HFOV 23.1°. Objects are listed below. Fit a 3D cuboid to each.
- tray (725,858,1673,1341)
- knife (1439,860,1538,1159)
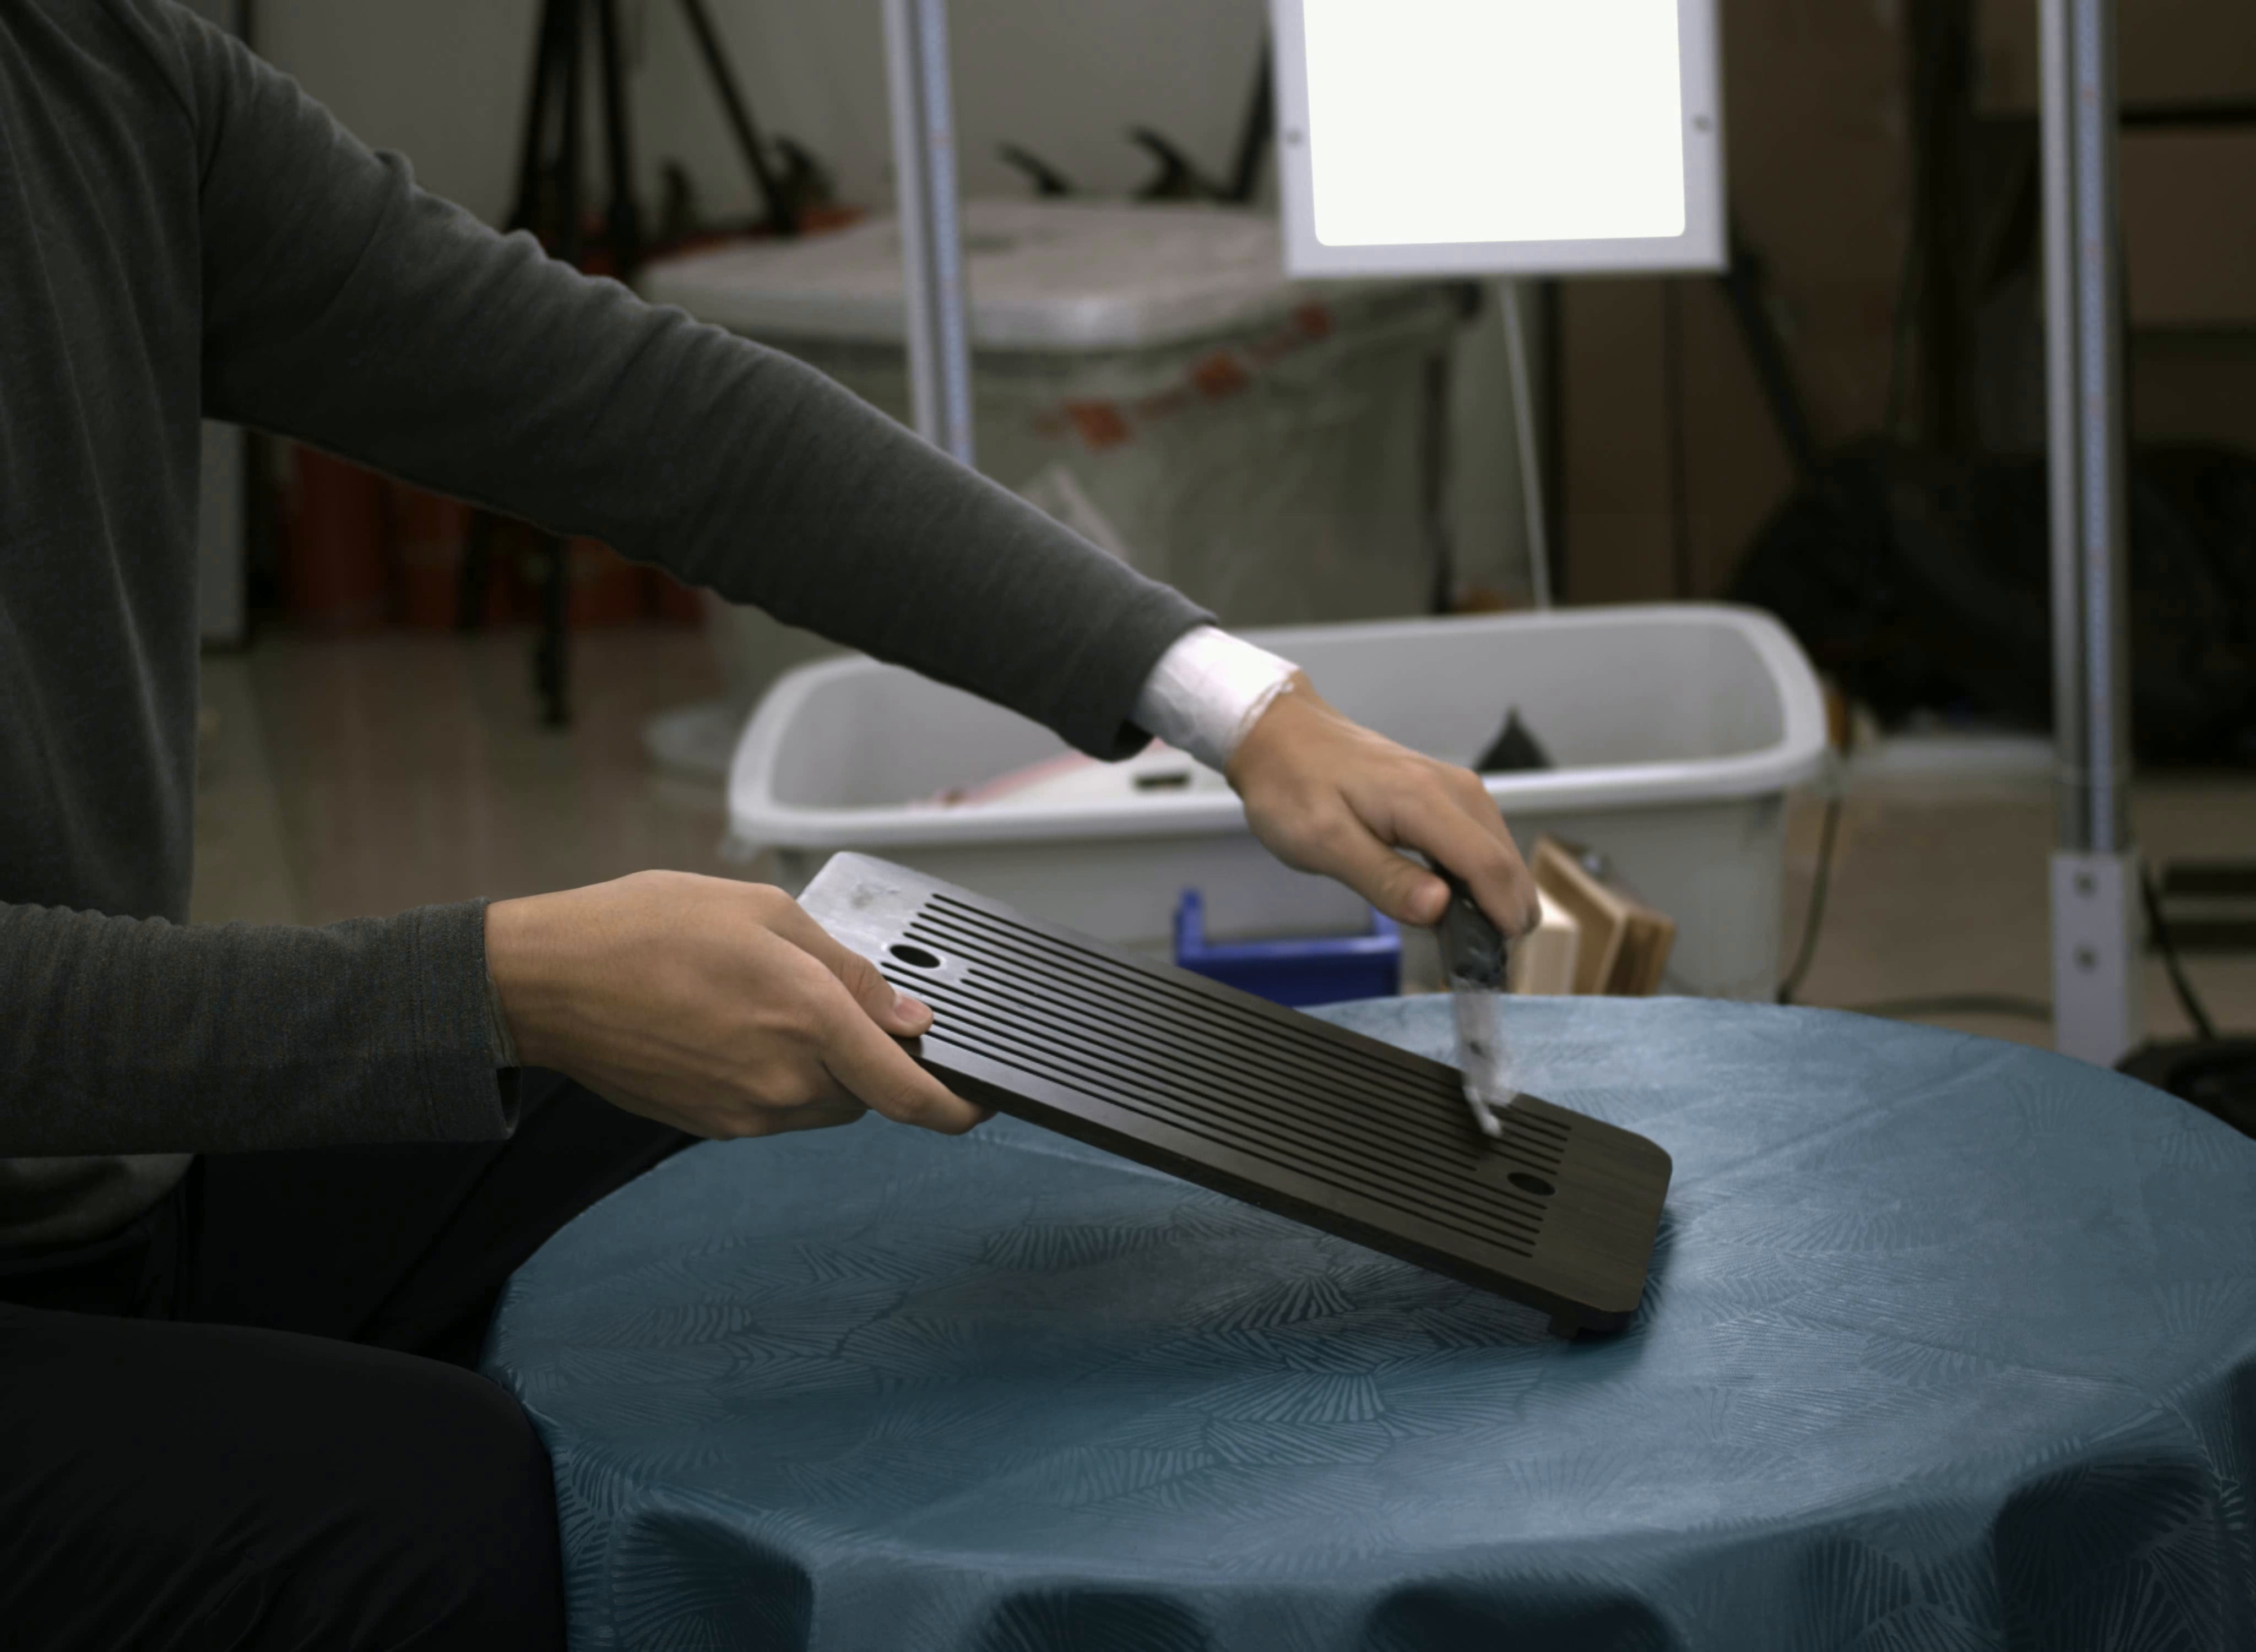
[{"bbox_3d":[0.027,0.088,1.794,0.307,0.019,0.168,20,18,6],"label":"tray"},{"bbox_3d":[0.126,0.062,1.910,0.024,0.016,0.237,32,18,-14],"label":"knife"}]
